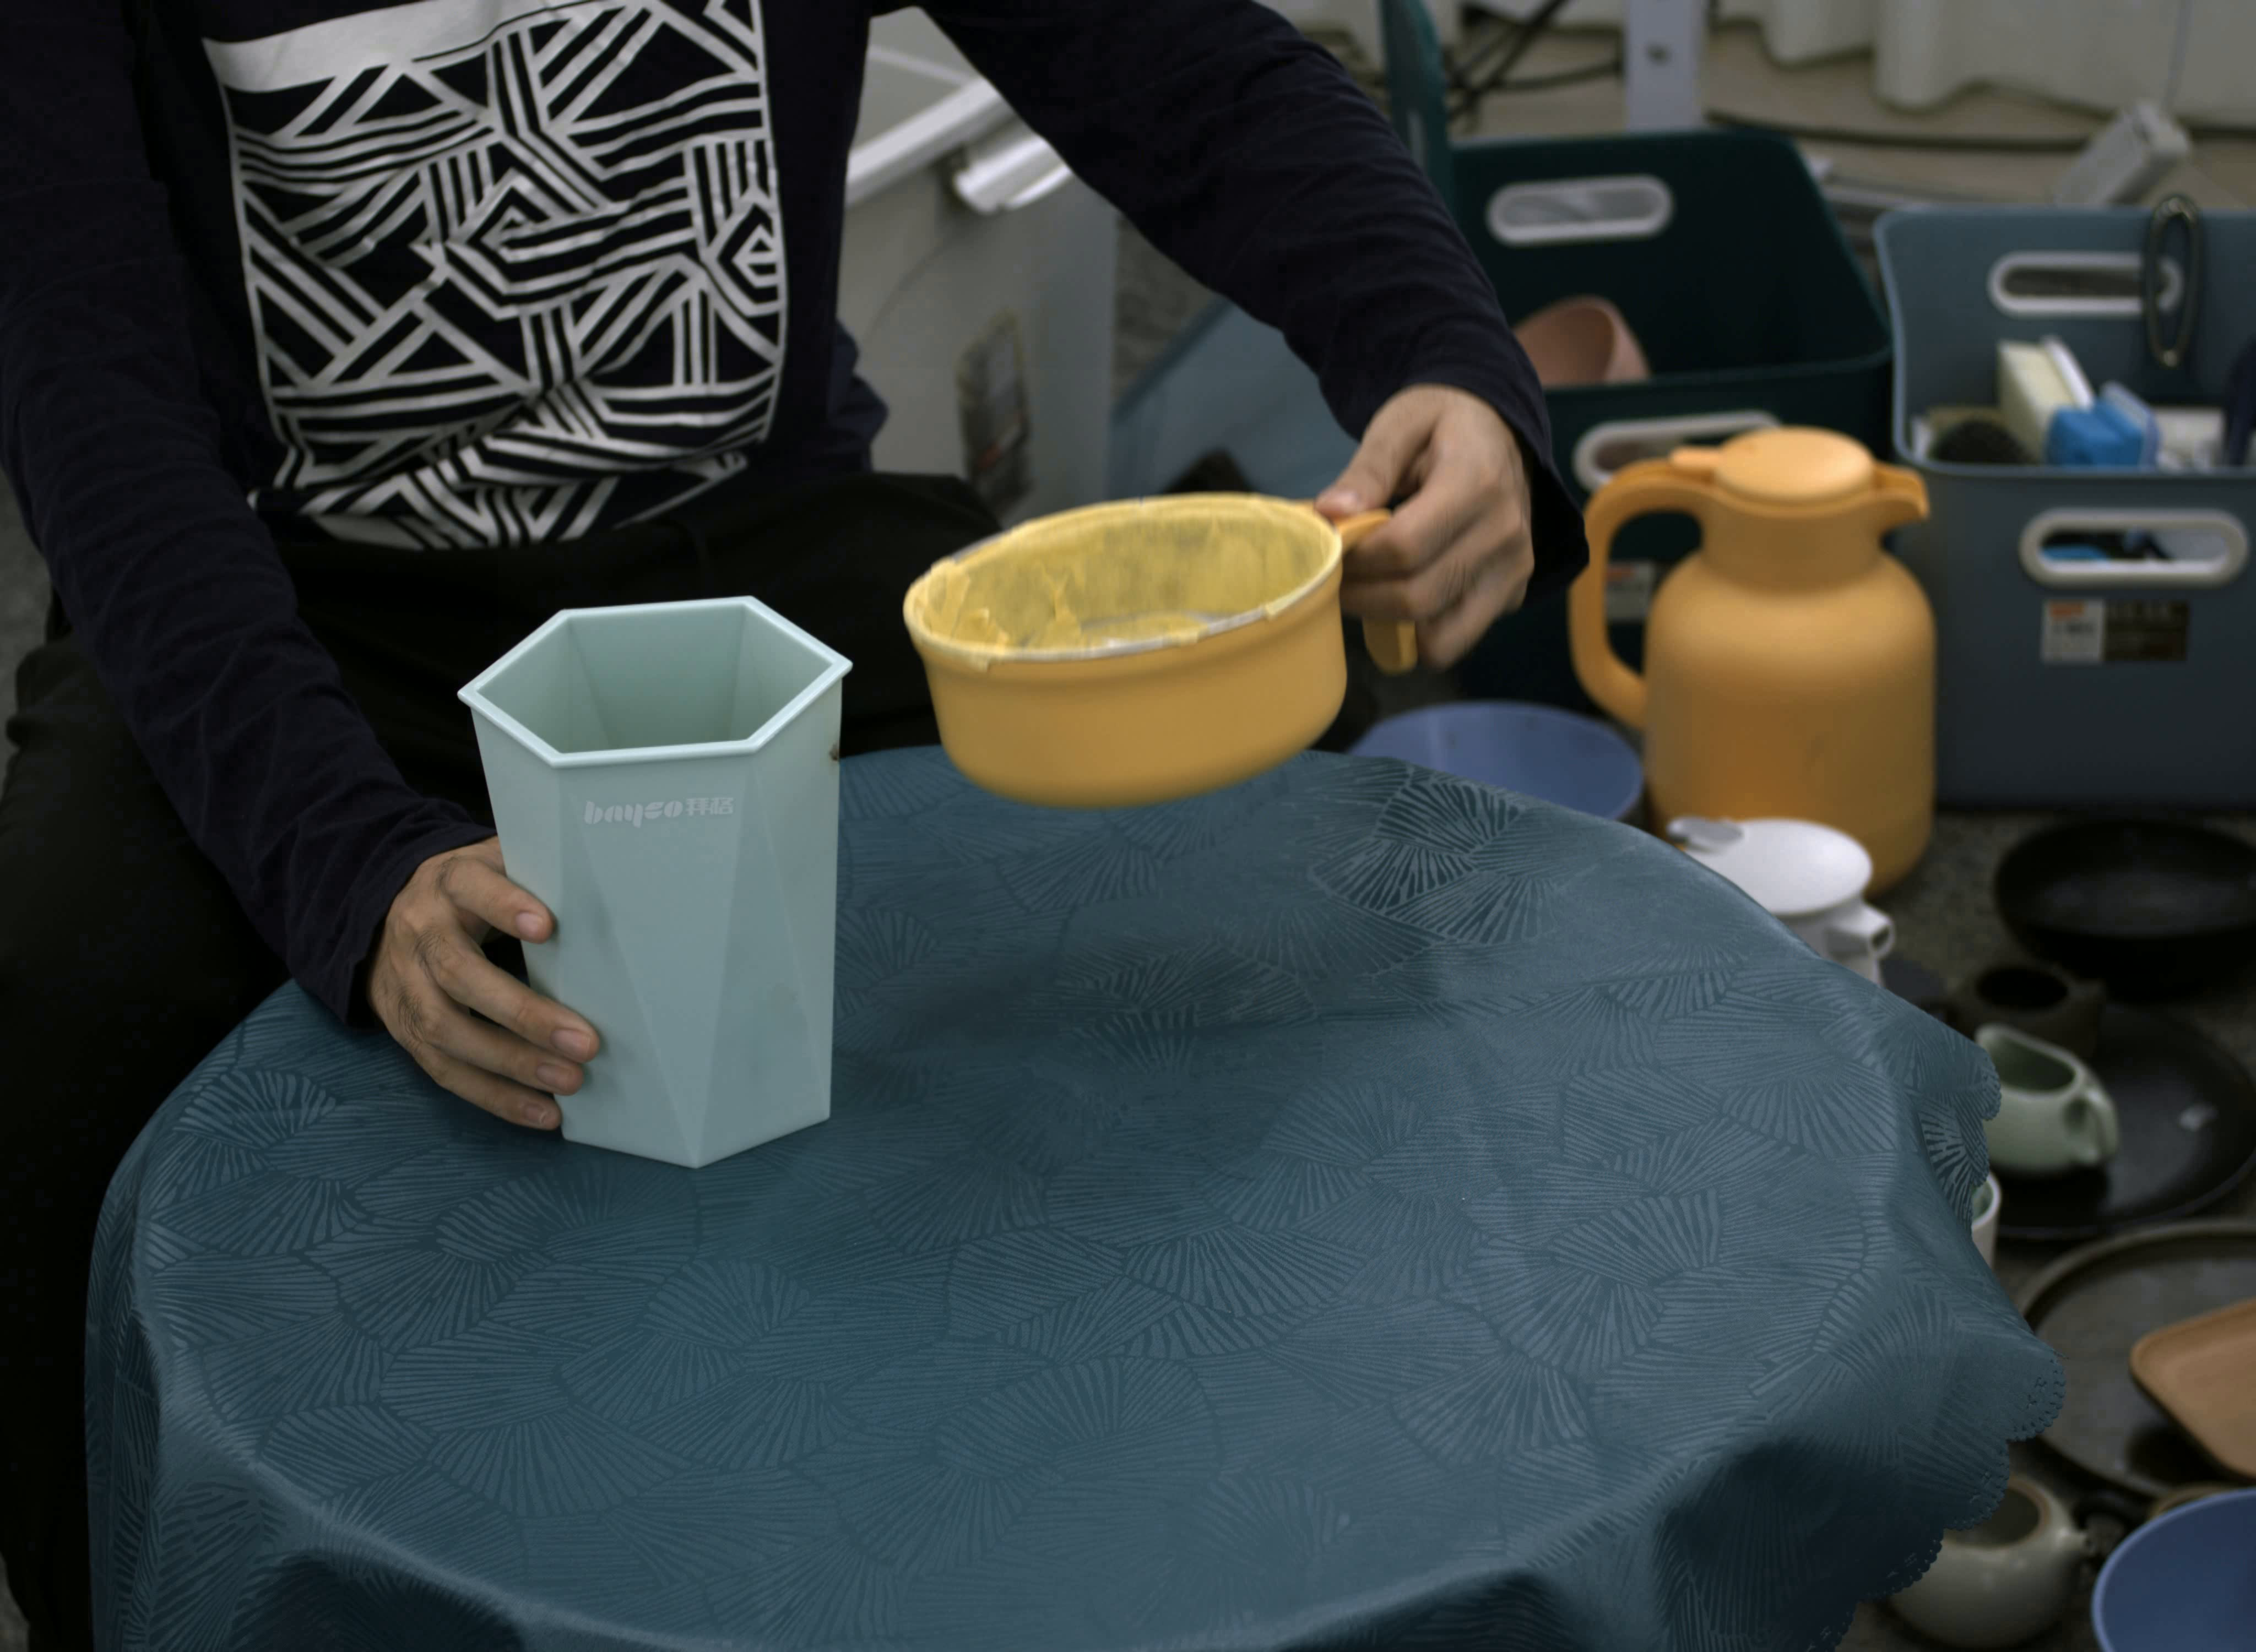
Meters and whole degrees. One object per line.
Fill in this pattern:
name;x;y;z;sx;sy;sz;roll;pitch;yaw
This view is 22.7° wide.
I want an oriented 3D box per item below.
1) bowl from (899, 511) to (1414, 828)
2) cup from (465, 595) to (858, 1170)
bowl;0.014;-0.055;1.938;0.180;0.074;0.153;-21;21;-25
cup;-0.152;0.021;1.893;0.130;0.161;0.116;-4;25;-6
